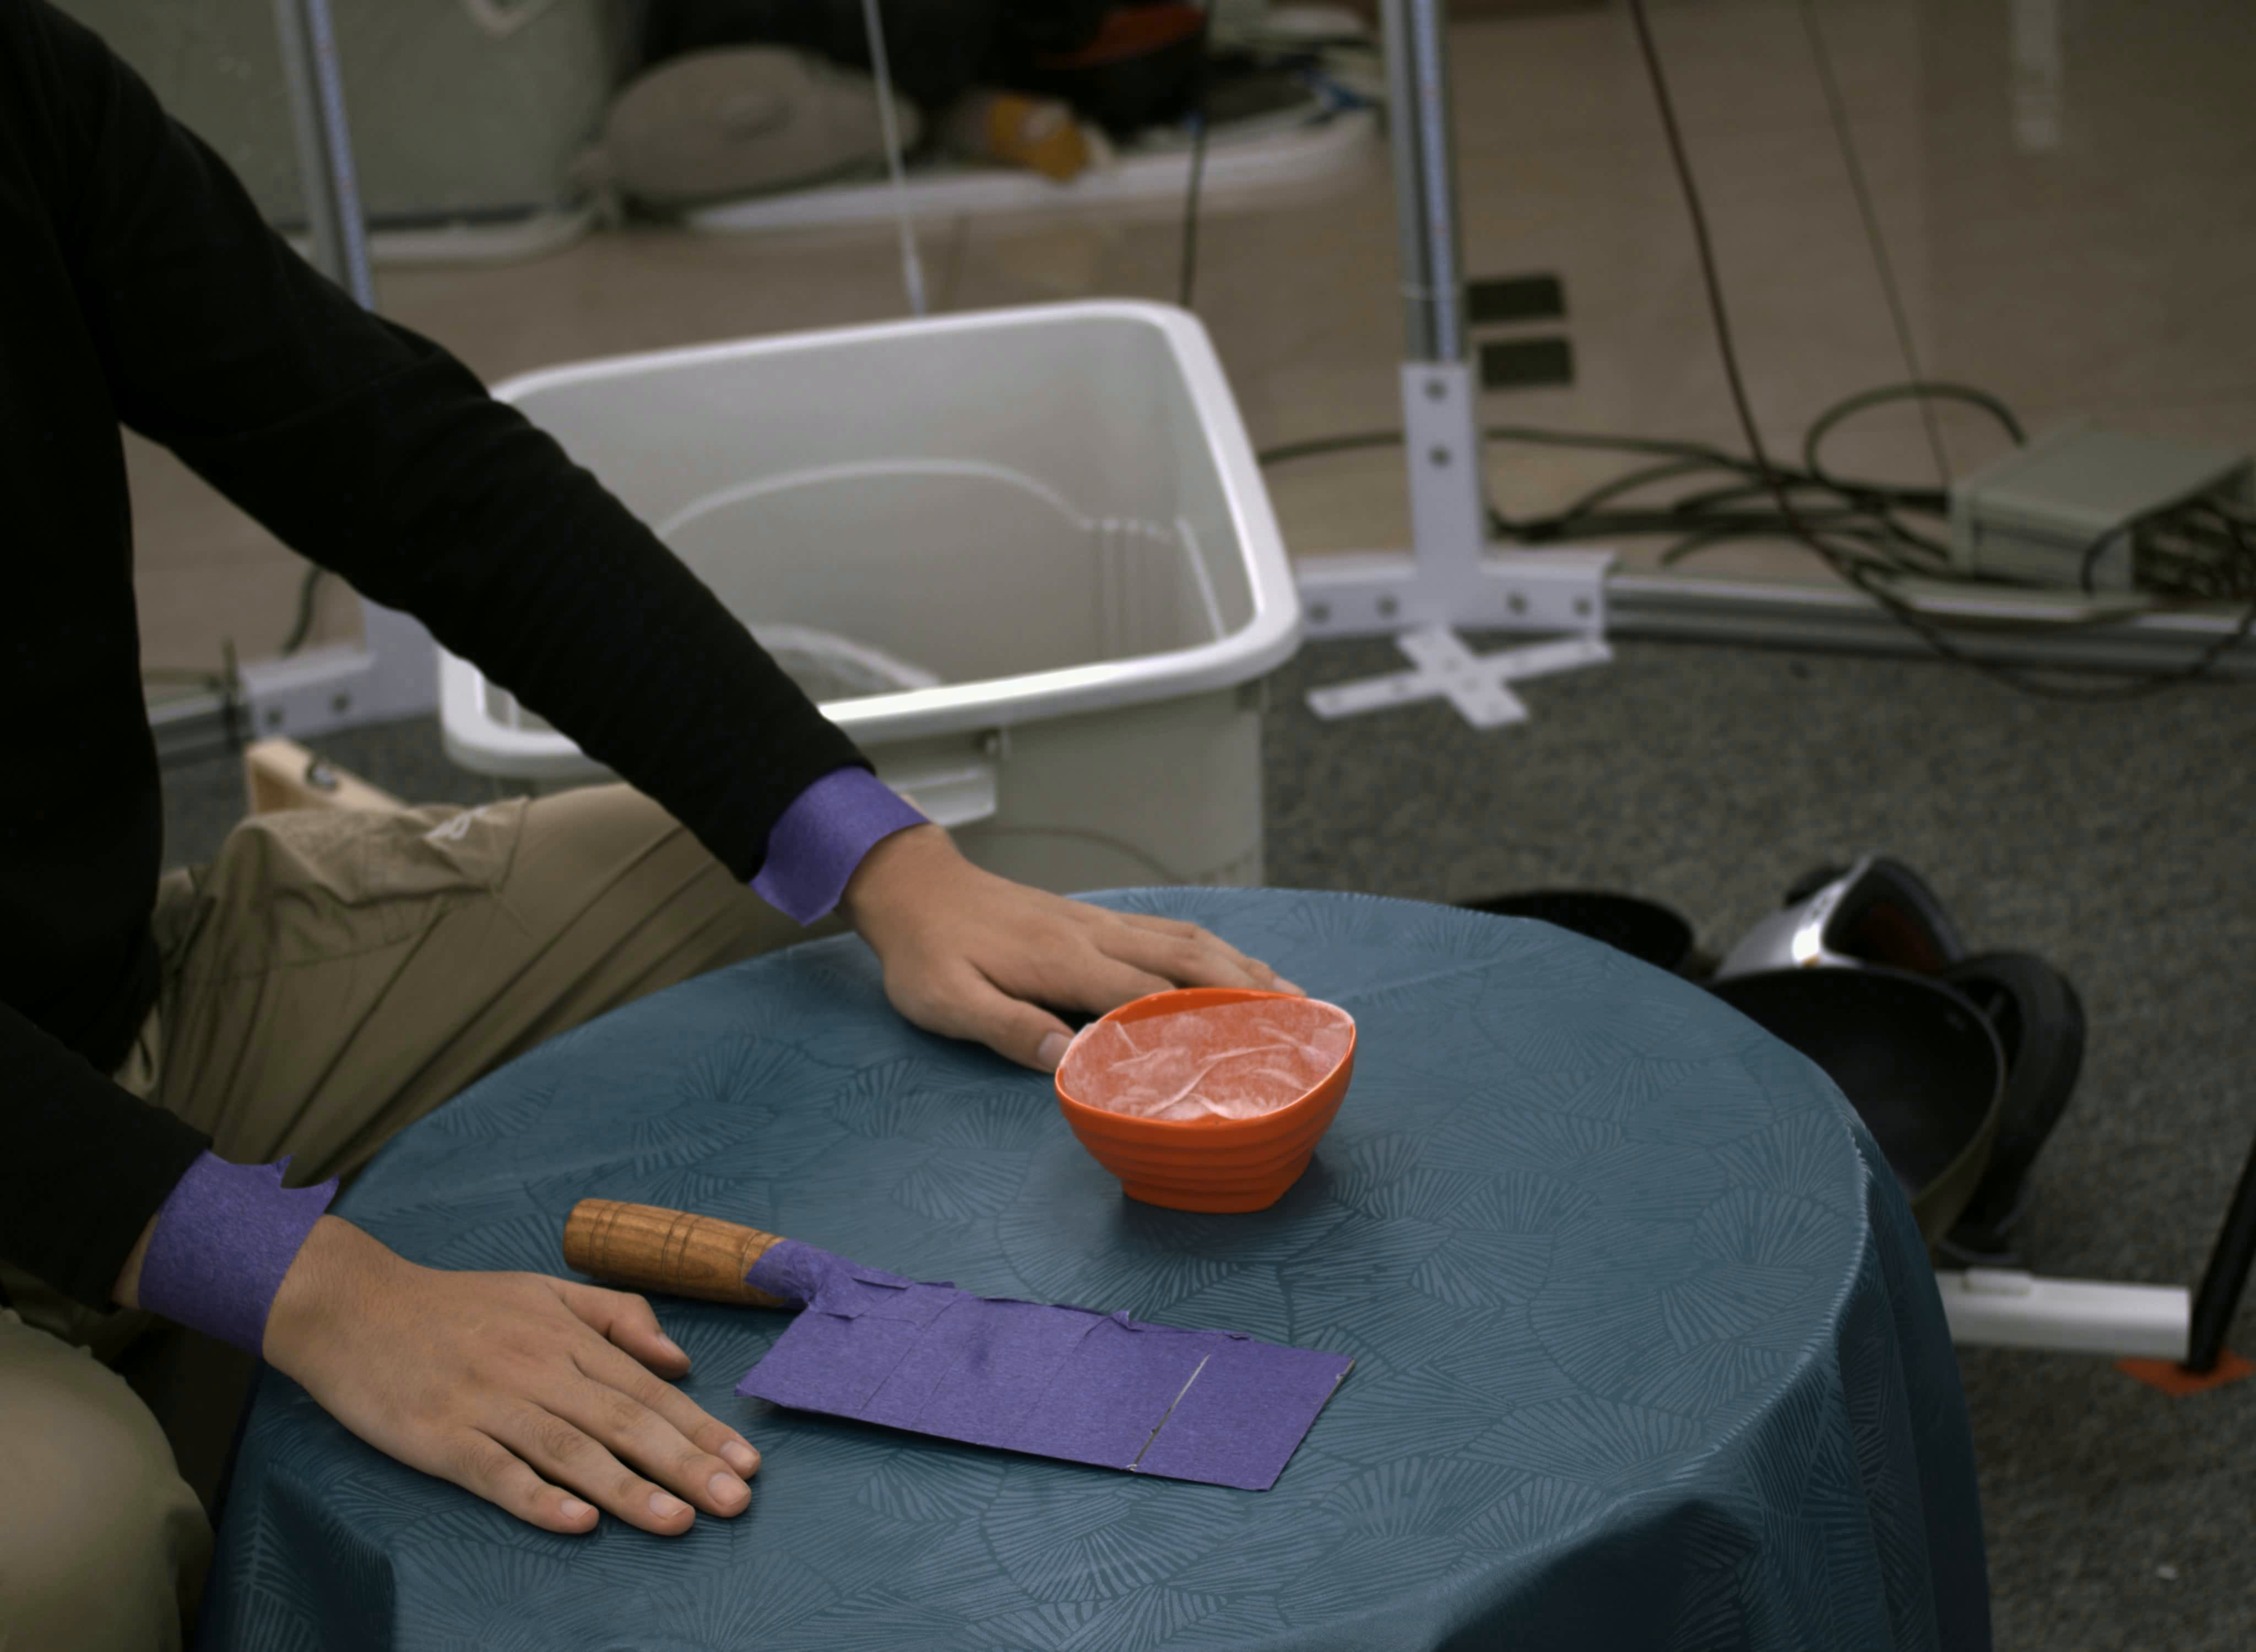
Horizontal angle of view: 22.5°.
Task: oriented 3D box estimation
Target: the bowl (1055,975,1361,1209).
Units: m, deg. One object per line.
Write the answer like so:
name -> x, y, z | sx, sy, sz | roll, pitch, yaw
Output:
bowl -> 0.032, 0.105, 2.147 | 0.119, 0.052, 0.117 | -3, 28, 2

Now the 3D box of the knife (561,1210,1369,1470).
knife -> -0.075, 0.184, 2.040 | 0.314, 0.033, 0.102 | 6, 27, 23
